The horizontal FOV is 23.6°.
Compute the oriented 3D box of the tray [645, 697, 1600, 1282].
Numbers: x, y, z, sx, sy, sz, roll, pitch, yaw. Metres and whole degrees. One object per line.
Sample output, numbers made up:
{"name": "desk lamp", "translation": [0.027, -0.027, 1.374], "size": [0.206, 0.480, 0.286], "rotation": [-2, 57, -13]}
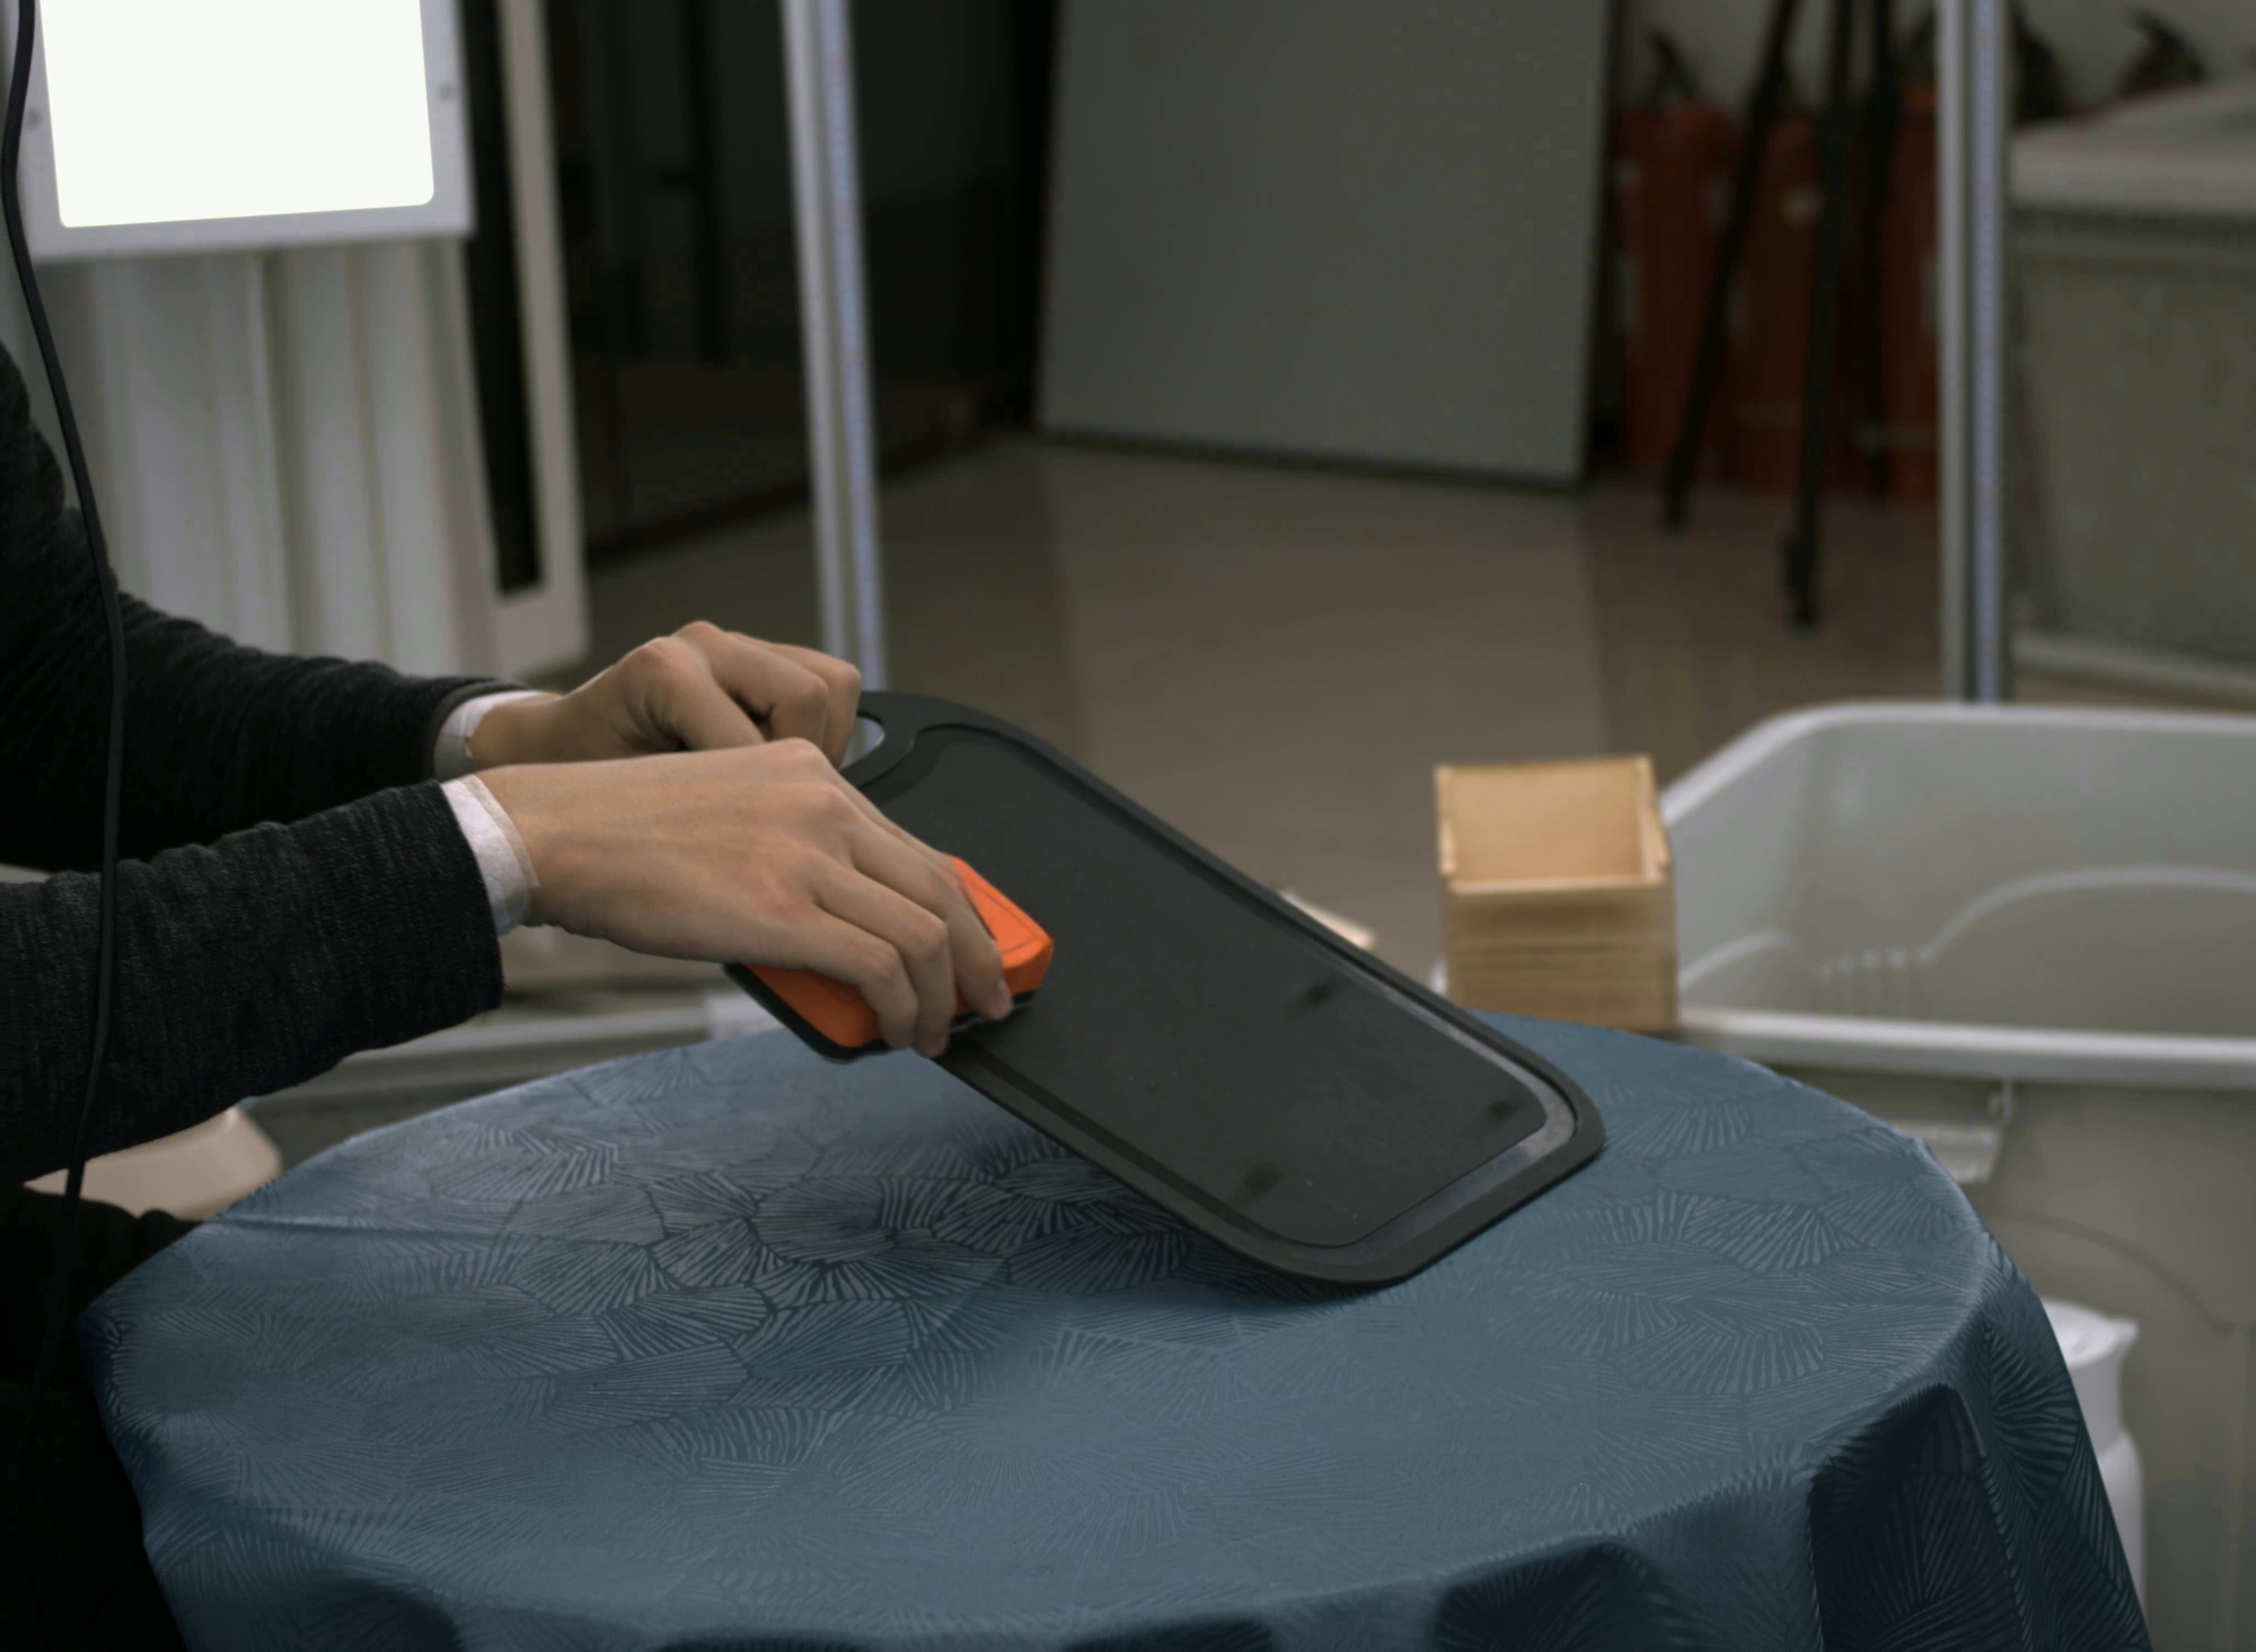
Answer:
{"name": "tray", "translation": [-0.007, 0.044, 1.779], "size": [0.327, 0.010, 0.207], "rotation": [33, 29, 23]}

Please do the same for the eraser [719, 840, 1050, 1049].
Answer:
{"name": "eraser", "translation": [-0.076, 0.037, 1.715], "size": [0.059, 0.023, 0.106], "rotation": [33, 31, 28]}
